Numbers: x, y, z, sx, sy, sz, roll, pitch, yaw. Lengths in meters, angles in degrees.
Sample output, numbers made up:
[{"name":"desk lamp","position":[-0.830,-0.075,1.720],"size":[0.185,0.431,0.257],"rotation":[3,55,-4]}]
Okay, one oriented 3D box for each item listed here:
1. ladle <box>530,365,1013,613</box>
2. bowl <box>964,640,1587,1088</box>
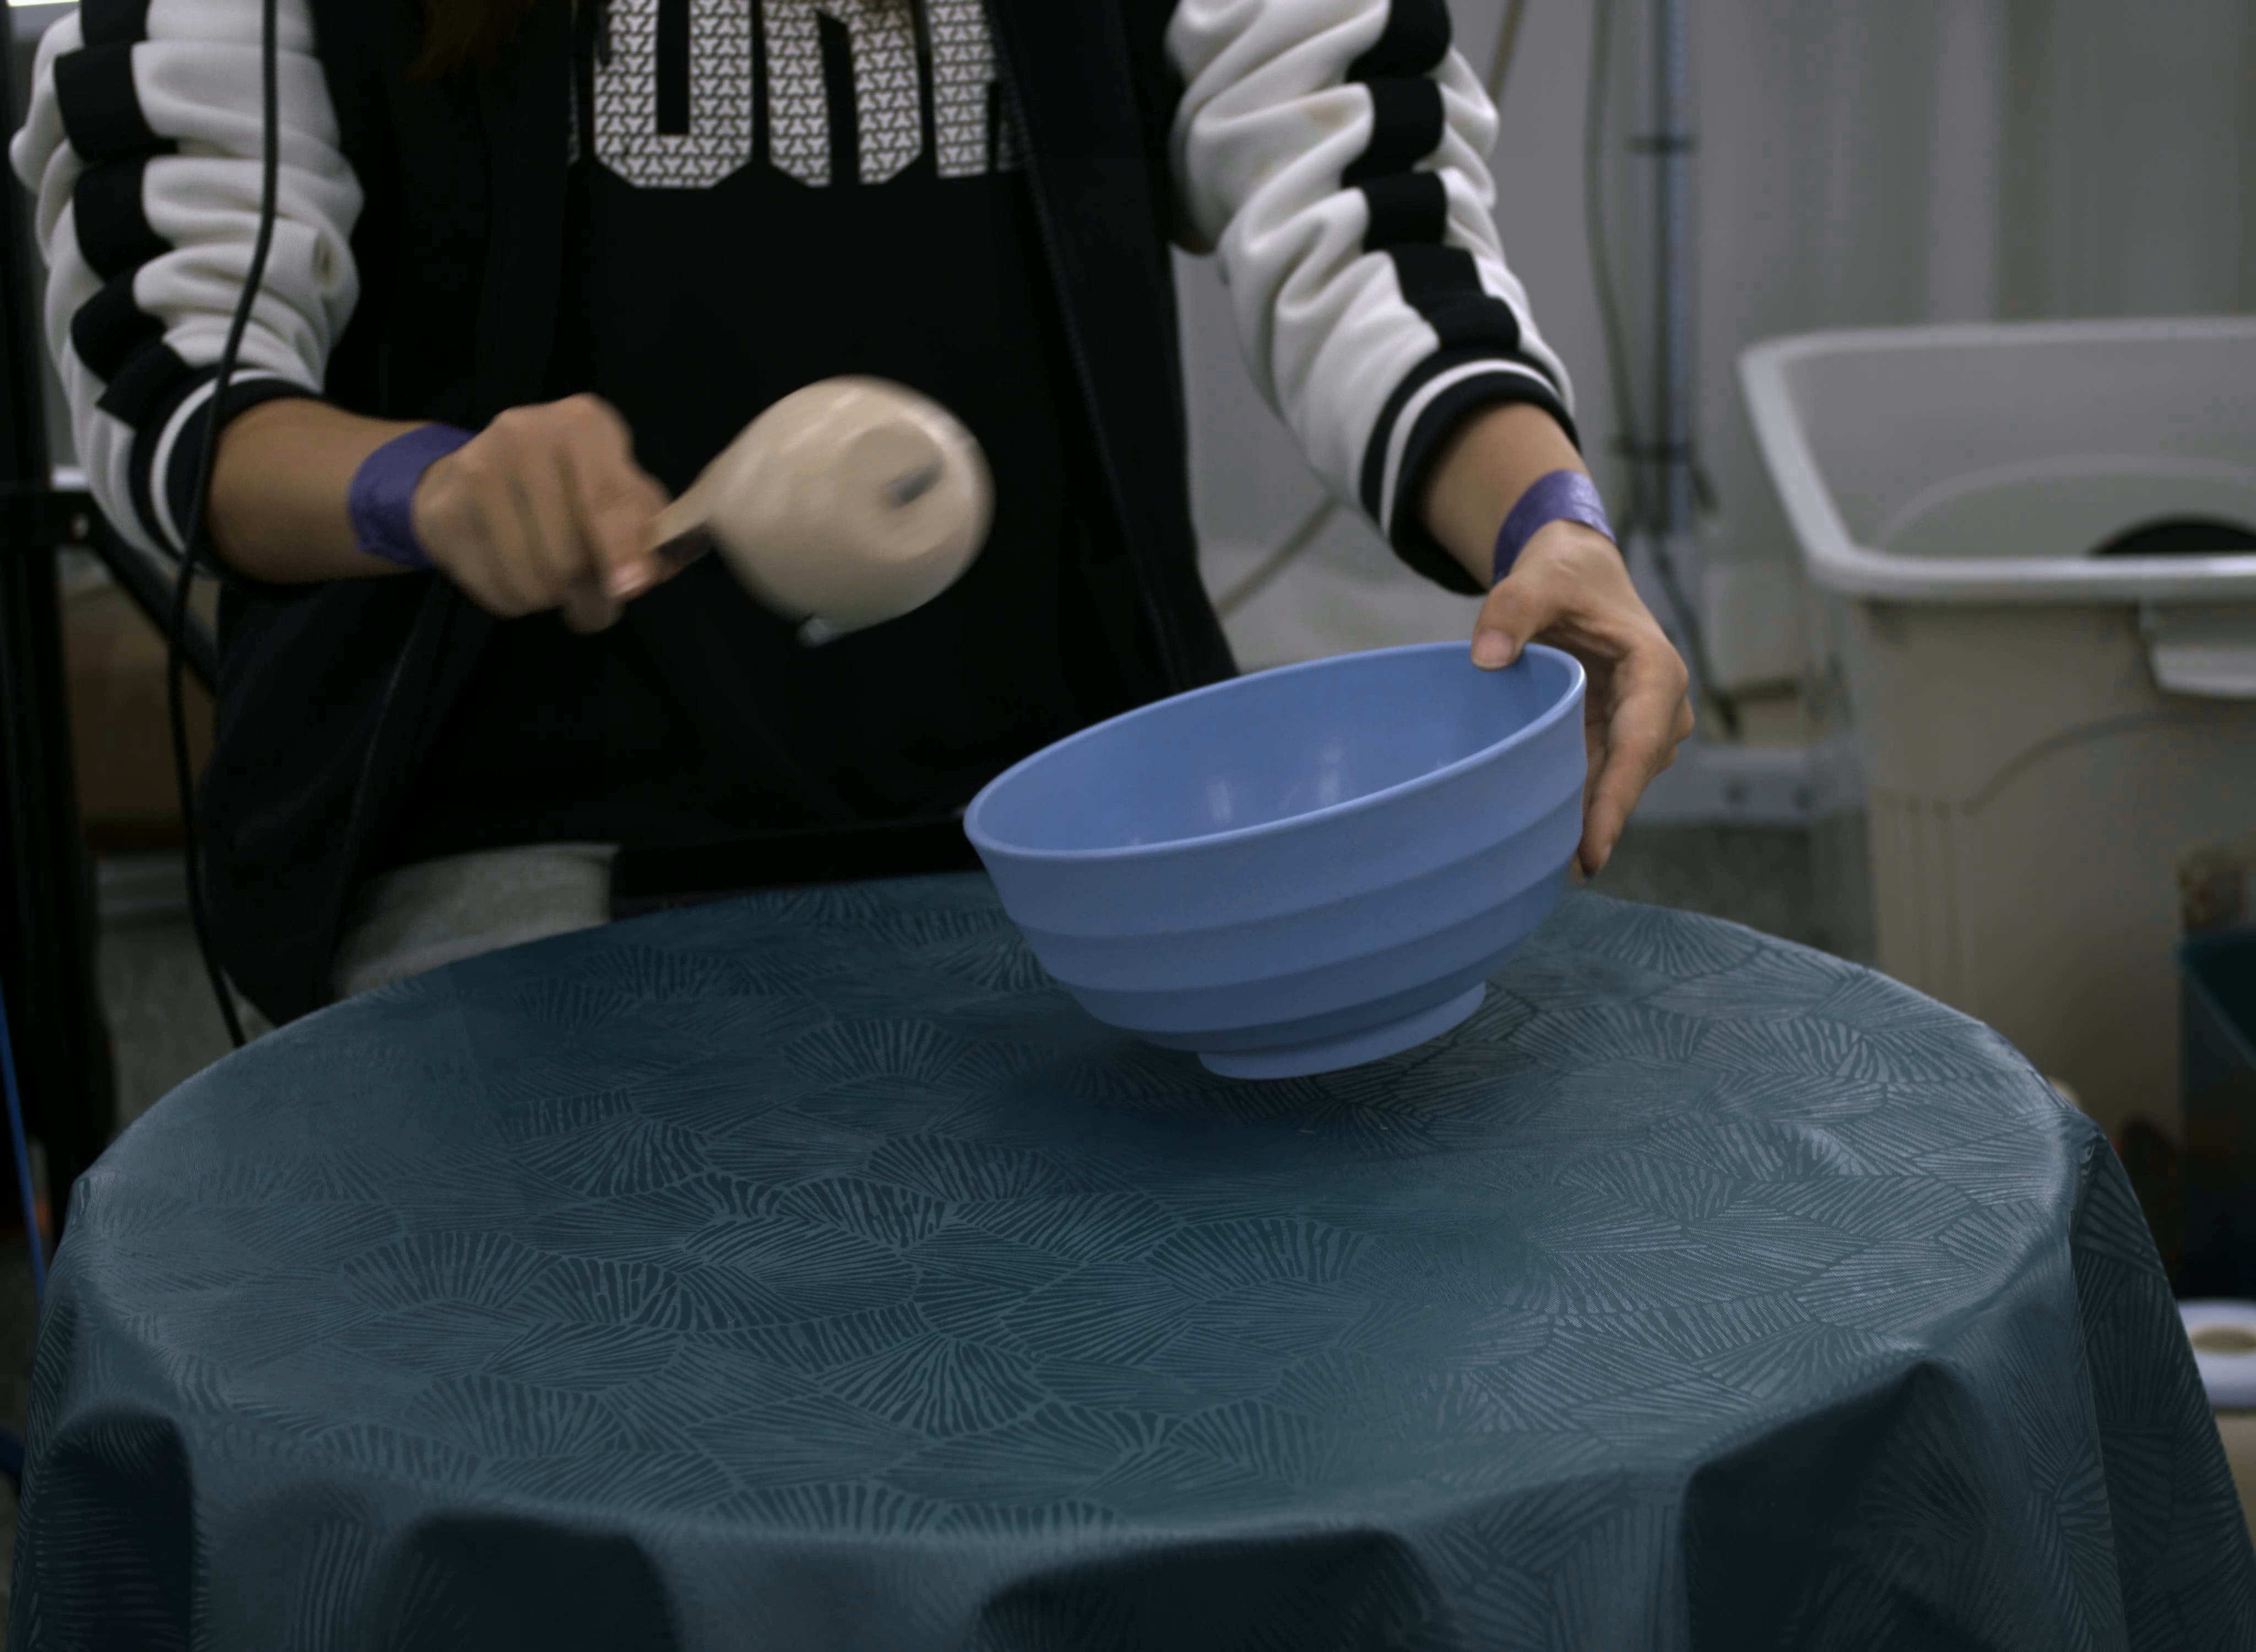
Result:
[{"name":"ladle","position":[-0.112,-0.090,1.647],"size":[0.071,0.072,0.258],"rotation":[14,-10,-22]},{"name":"bowl","position":[0.055,0.020,1.638],"size":[0.196,0.095,0.197],"rotation":[-14,15,2]}]
